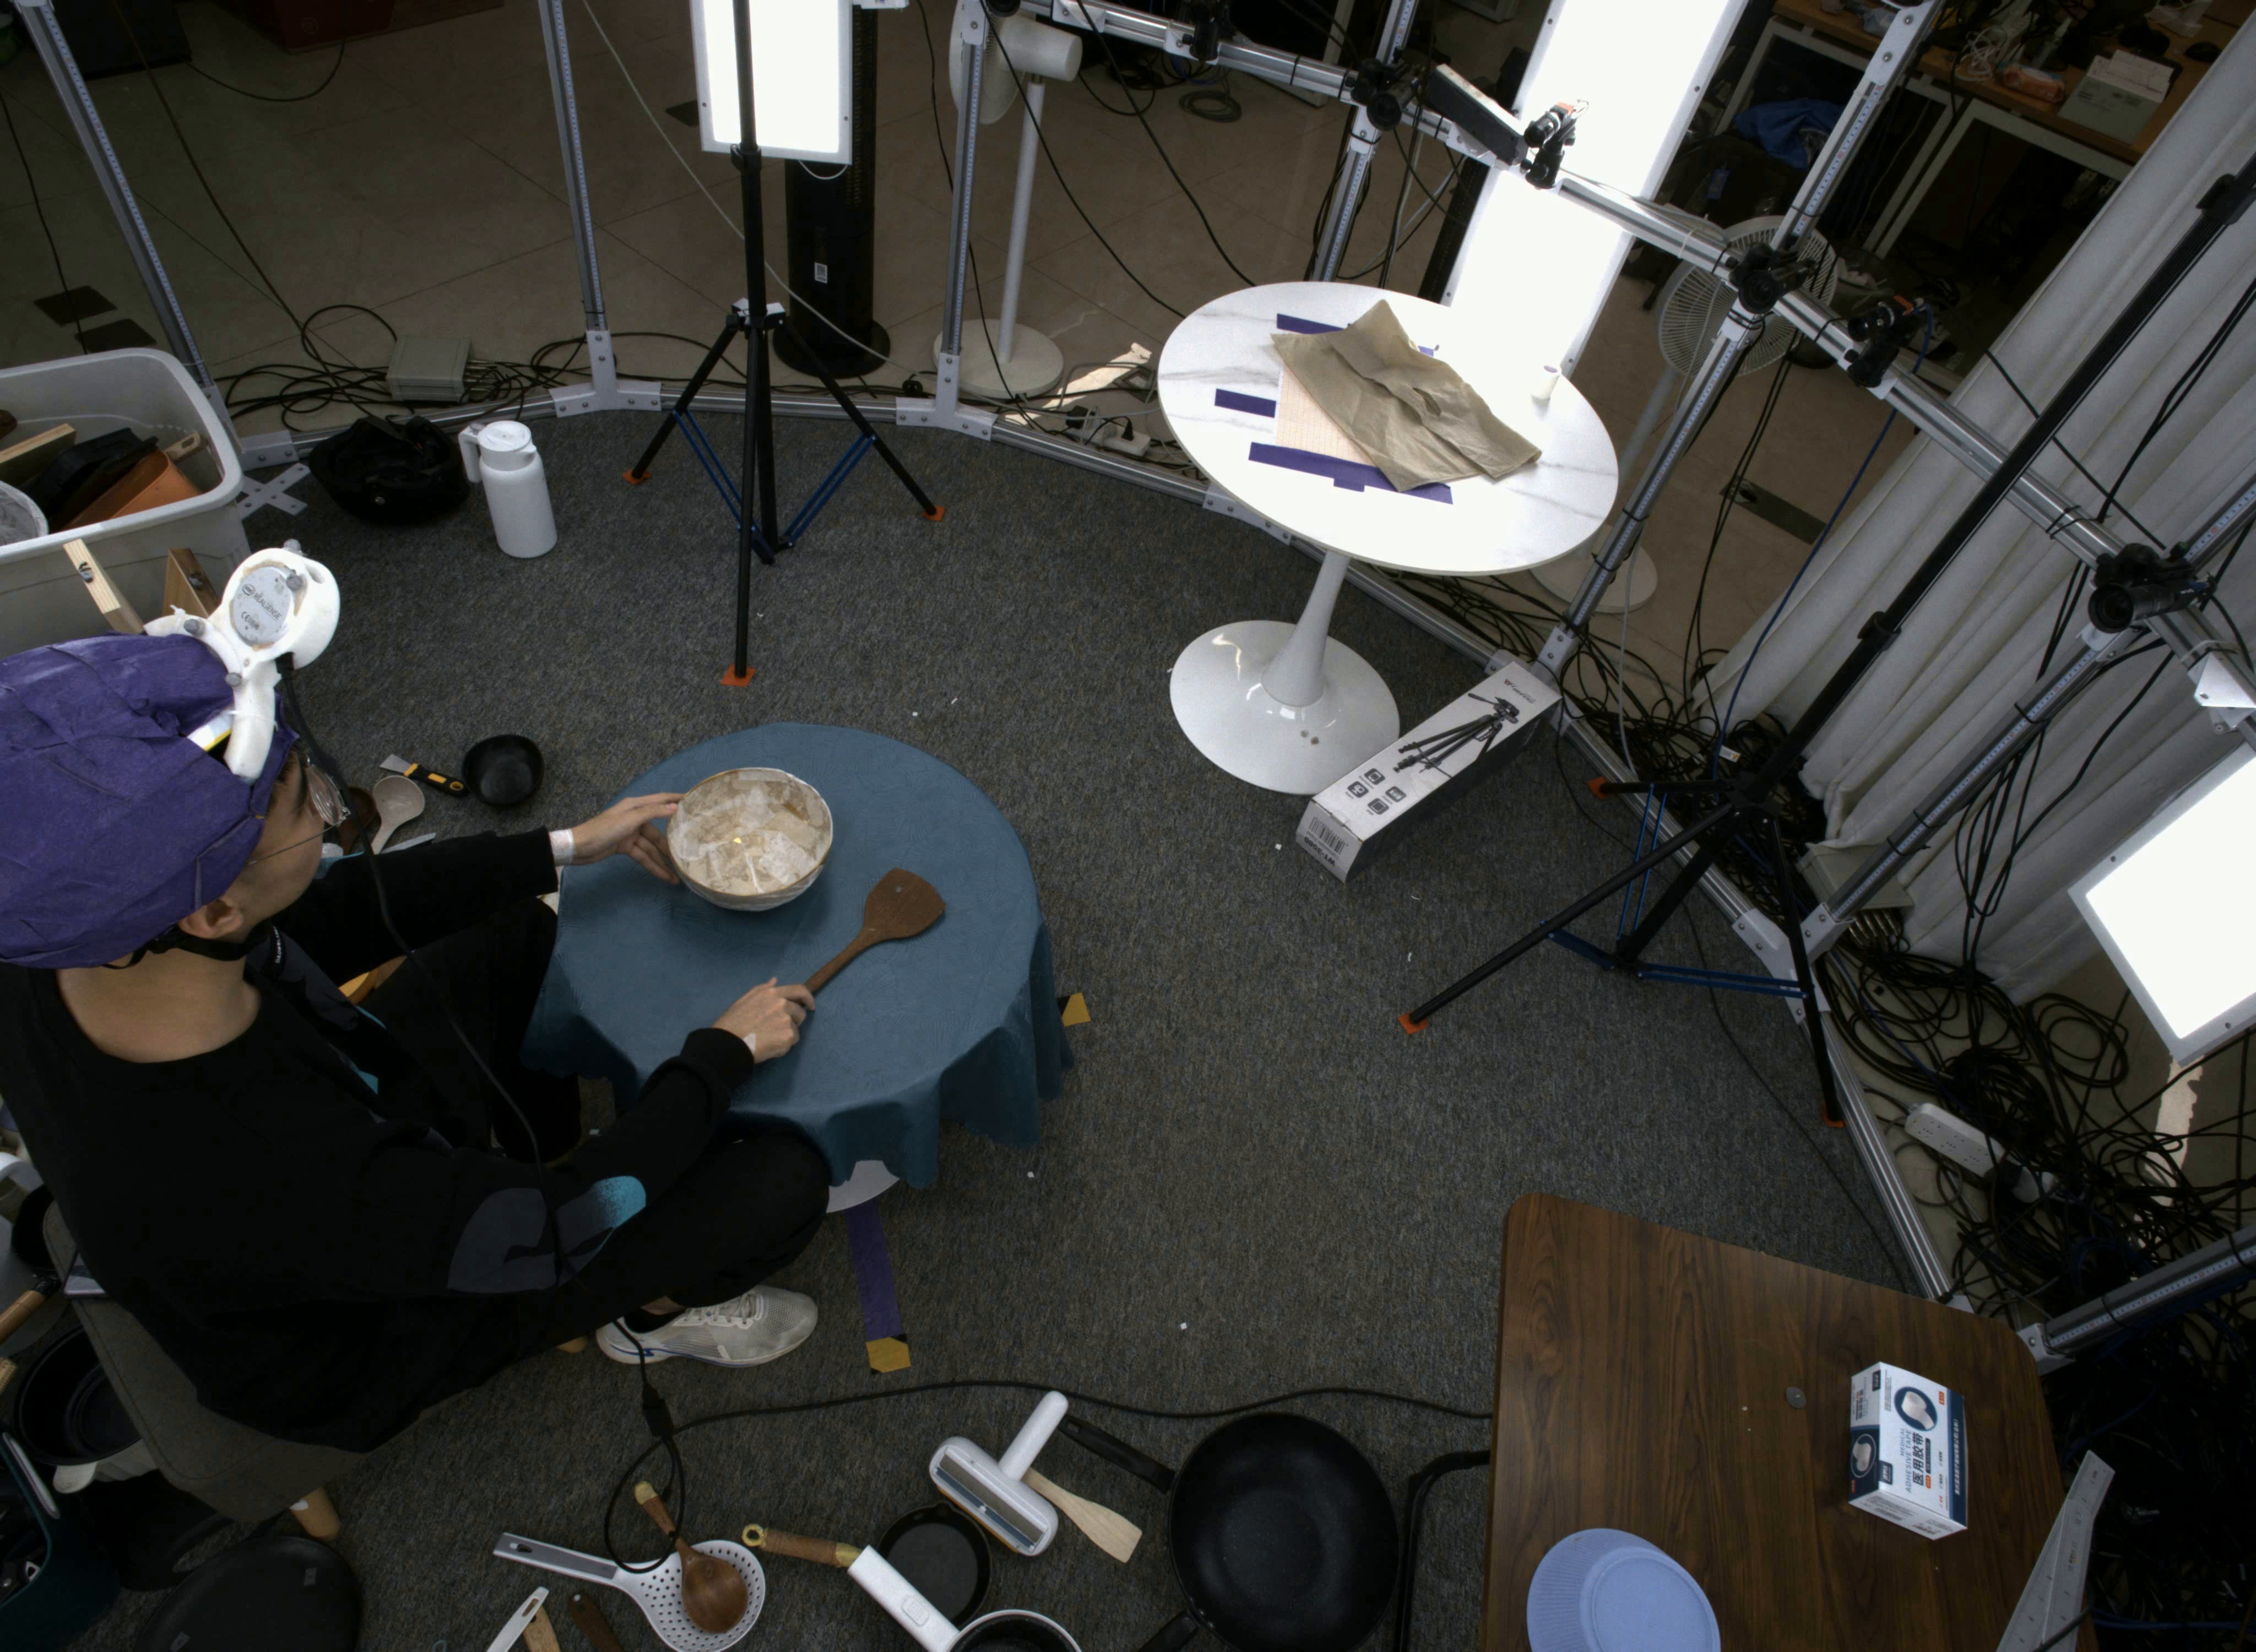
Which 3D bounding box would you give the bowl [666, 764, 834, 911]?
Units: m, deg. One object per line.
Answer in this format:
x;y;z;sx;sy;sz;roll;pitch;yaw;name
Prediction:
-0.477;0.029;1.634;0.214;0.096;0.211;7;54;-9;bowl

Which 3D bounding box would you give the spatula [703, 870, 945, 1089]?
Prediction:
-0.375;0.184;1.594;0.094;0.016;0.386;35;53;14;spatula
